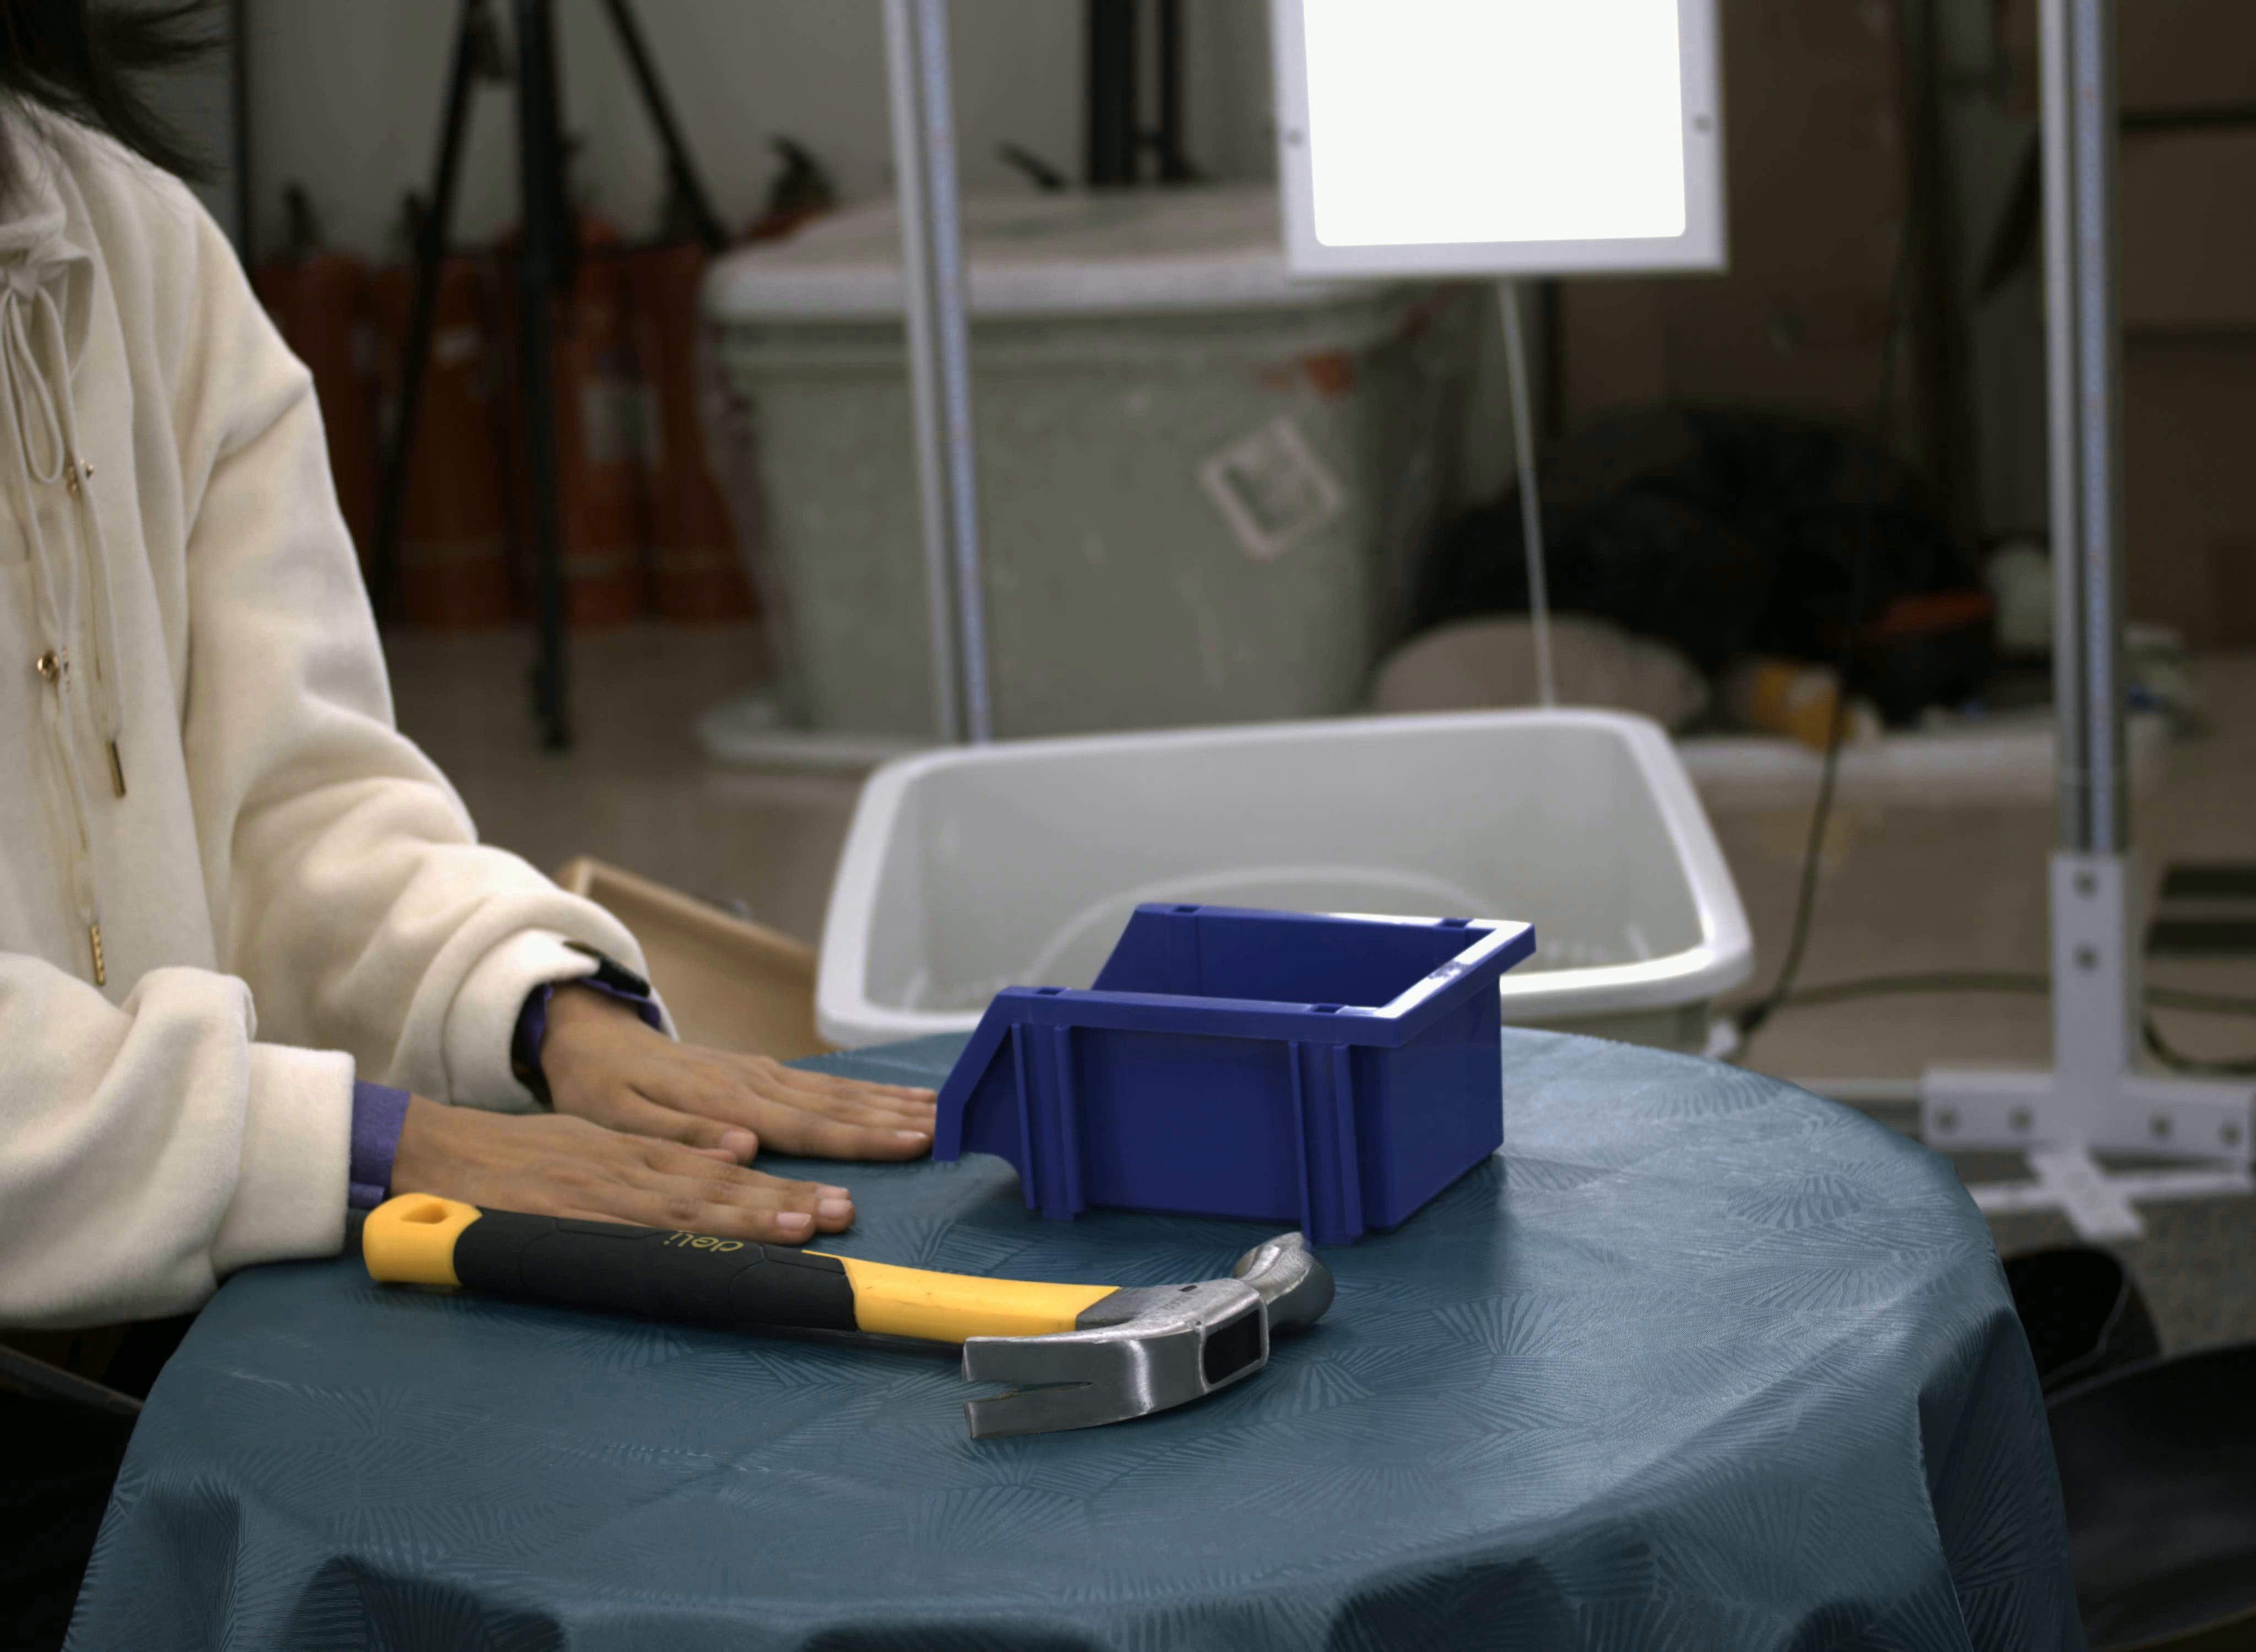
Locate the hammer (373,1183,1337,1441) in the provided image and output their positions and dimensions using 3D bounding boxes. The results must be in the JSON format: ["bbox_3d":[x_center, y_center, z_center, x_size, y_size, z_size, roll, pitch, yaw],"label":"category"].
[{"bbox_3d":[-0.108,0.147,1.785,0.345,0.032,0.128,5,18,35],"label":"hammer"}]

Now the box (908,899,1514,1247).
[{"bbox_3d":[0.028,0.083,1.897,0.182,0.082,0.122,5,17,29],"label":"box"}]
